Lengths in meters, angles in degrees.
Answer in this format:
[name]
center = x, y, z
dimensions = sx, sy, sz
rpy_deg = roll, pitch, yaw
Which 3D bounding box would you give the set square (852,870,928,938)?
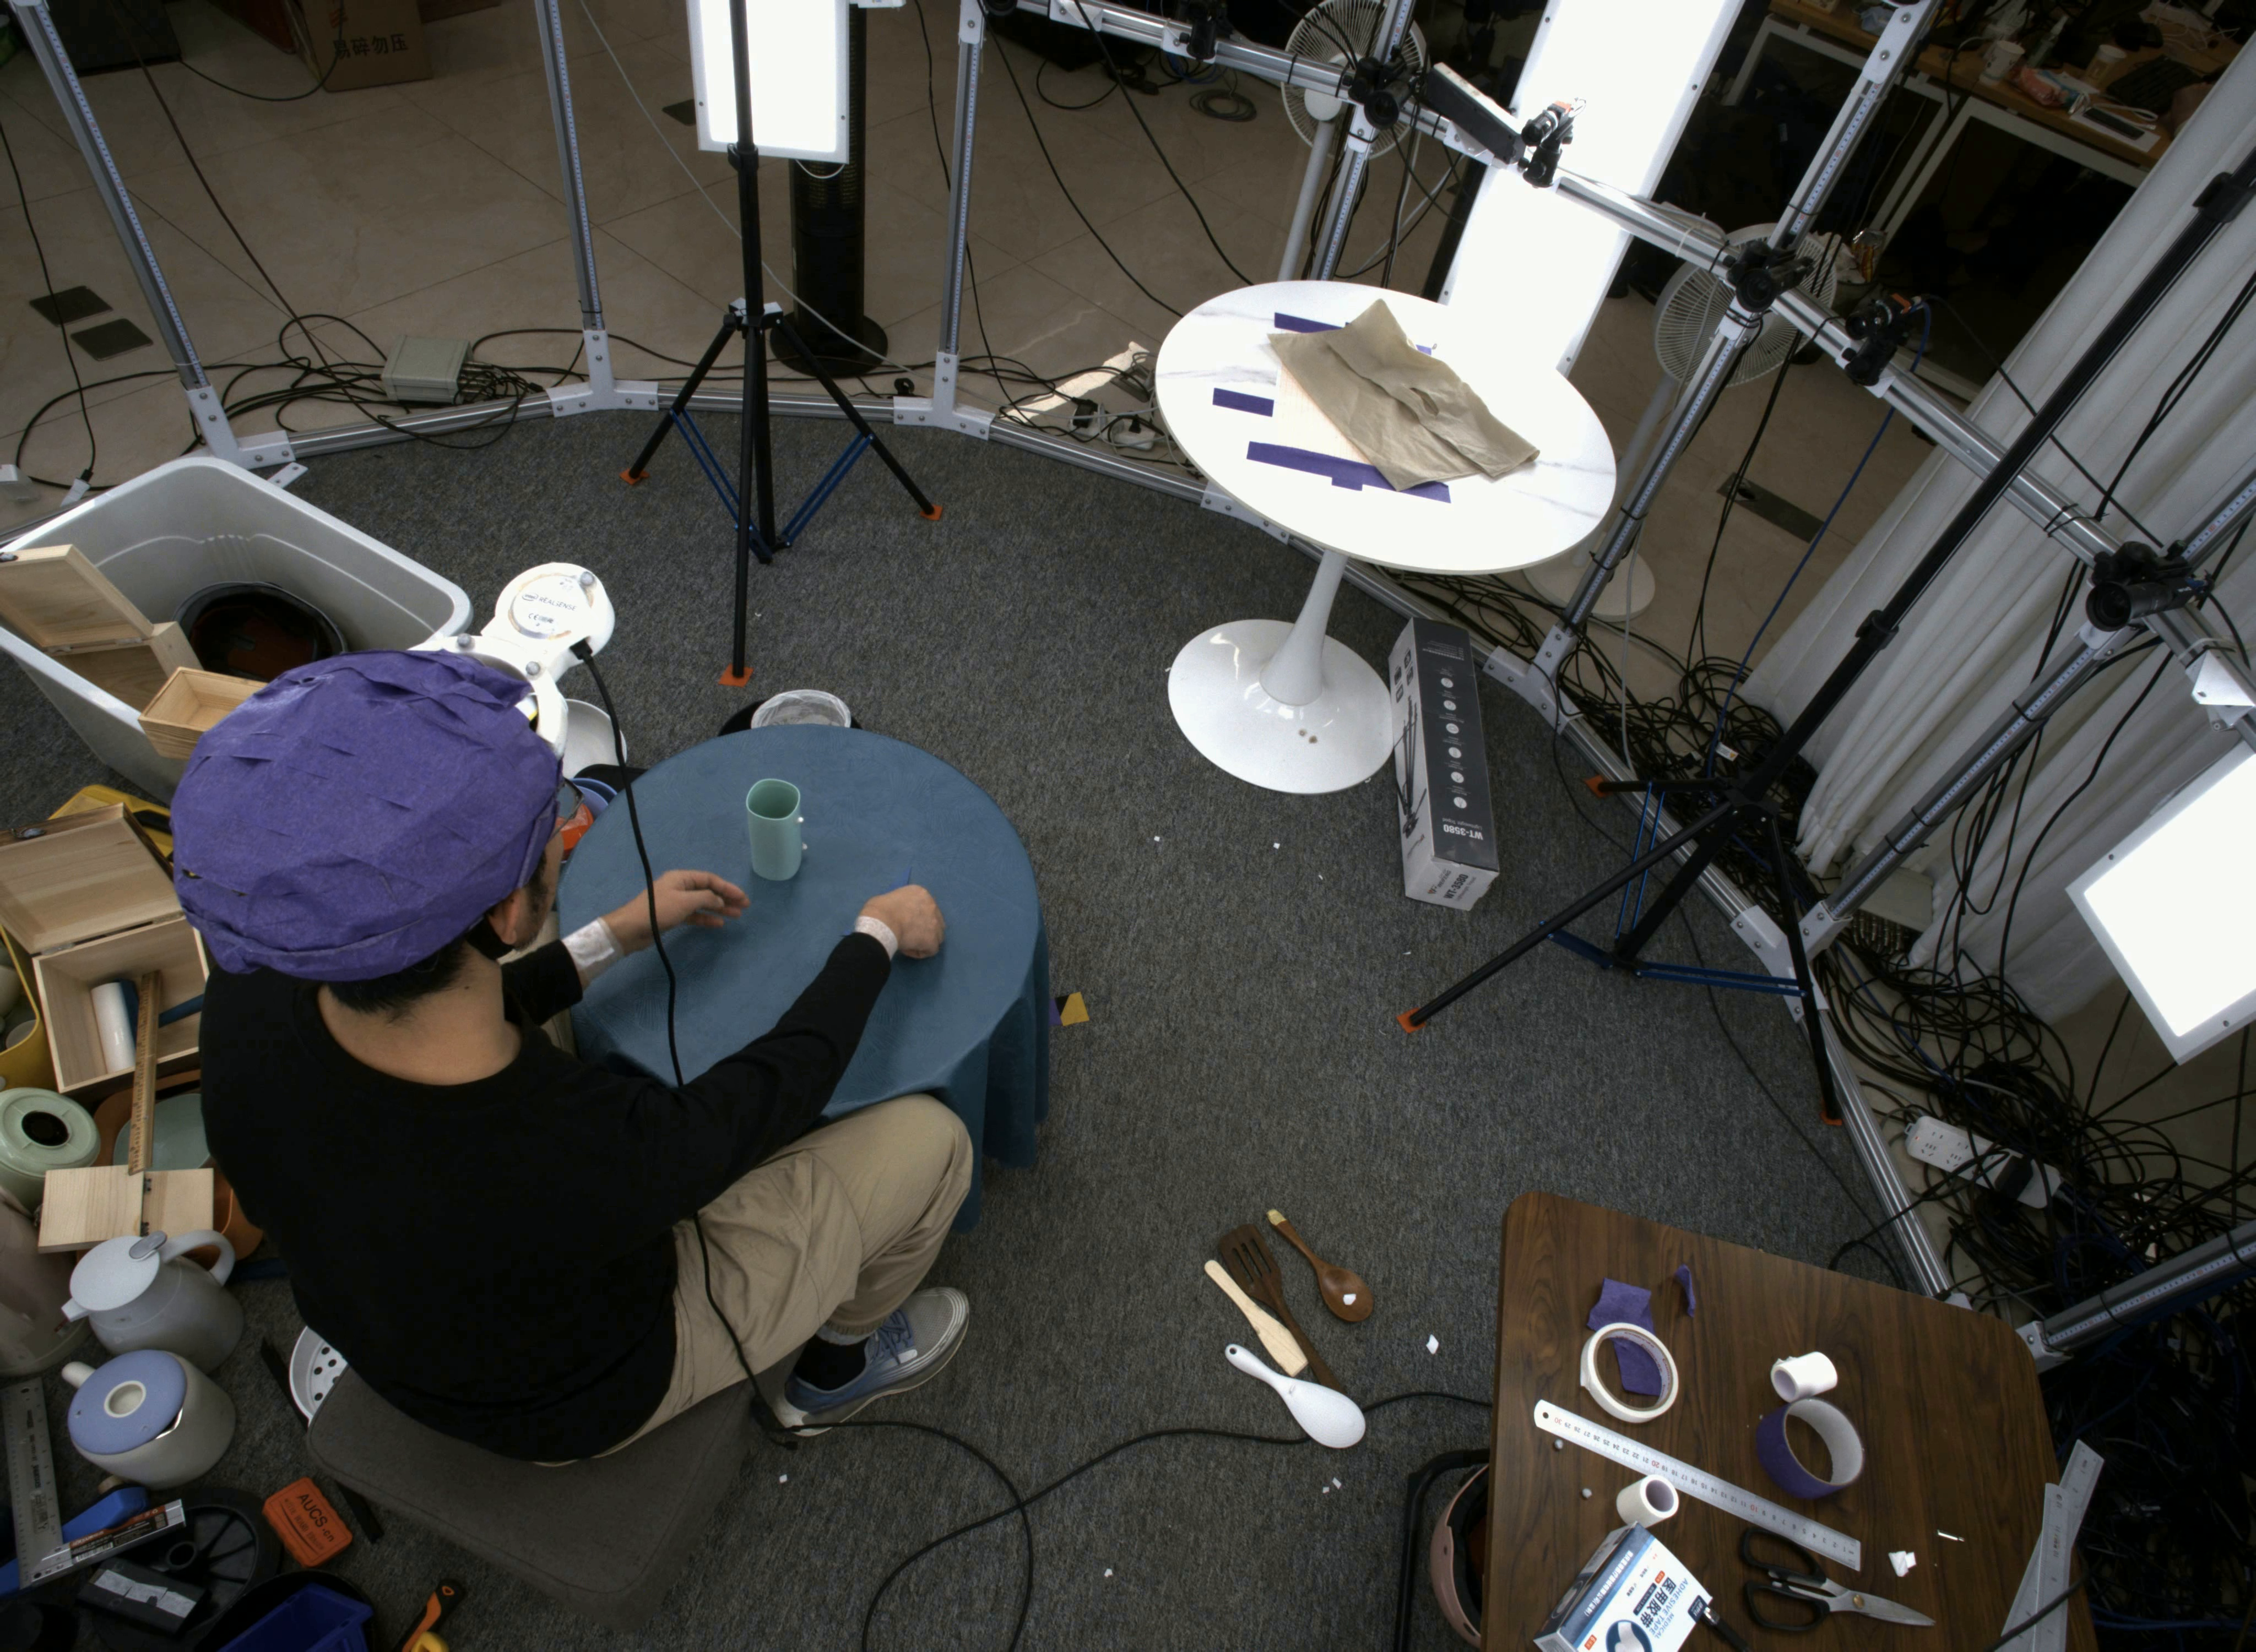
[set square]
center = -0.289, 0.104, 1.669
dimensions = 0.059, 0.007, 0.132
rpy_deg = 32, 52, 19

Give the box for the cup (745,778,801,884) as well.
[cup]
center = -0.445, 0.007, 1.628
dimensions = 0.066, 0.135, 0.065
rpy_deg = 7, 51, -7
